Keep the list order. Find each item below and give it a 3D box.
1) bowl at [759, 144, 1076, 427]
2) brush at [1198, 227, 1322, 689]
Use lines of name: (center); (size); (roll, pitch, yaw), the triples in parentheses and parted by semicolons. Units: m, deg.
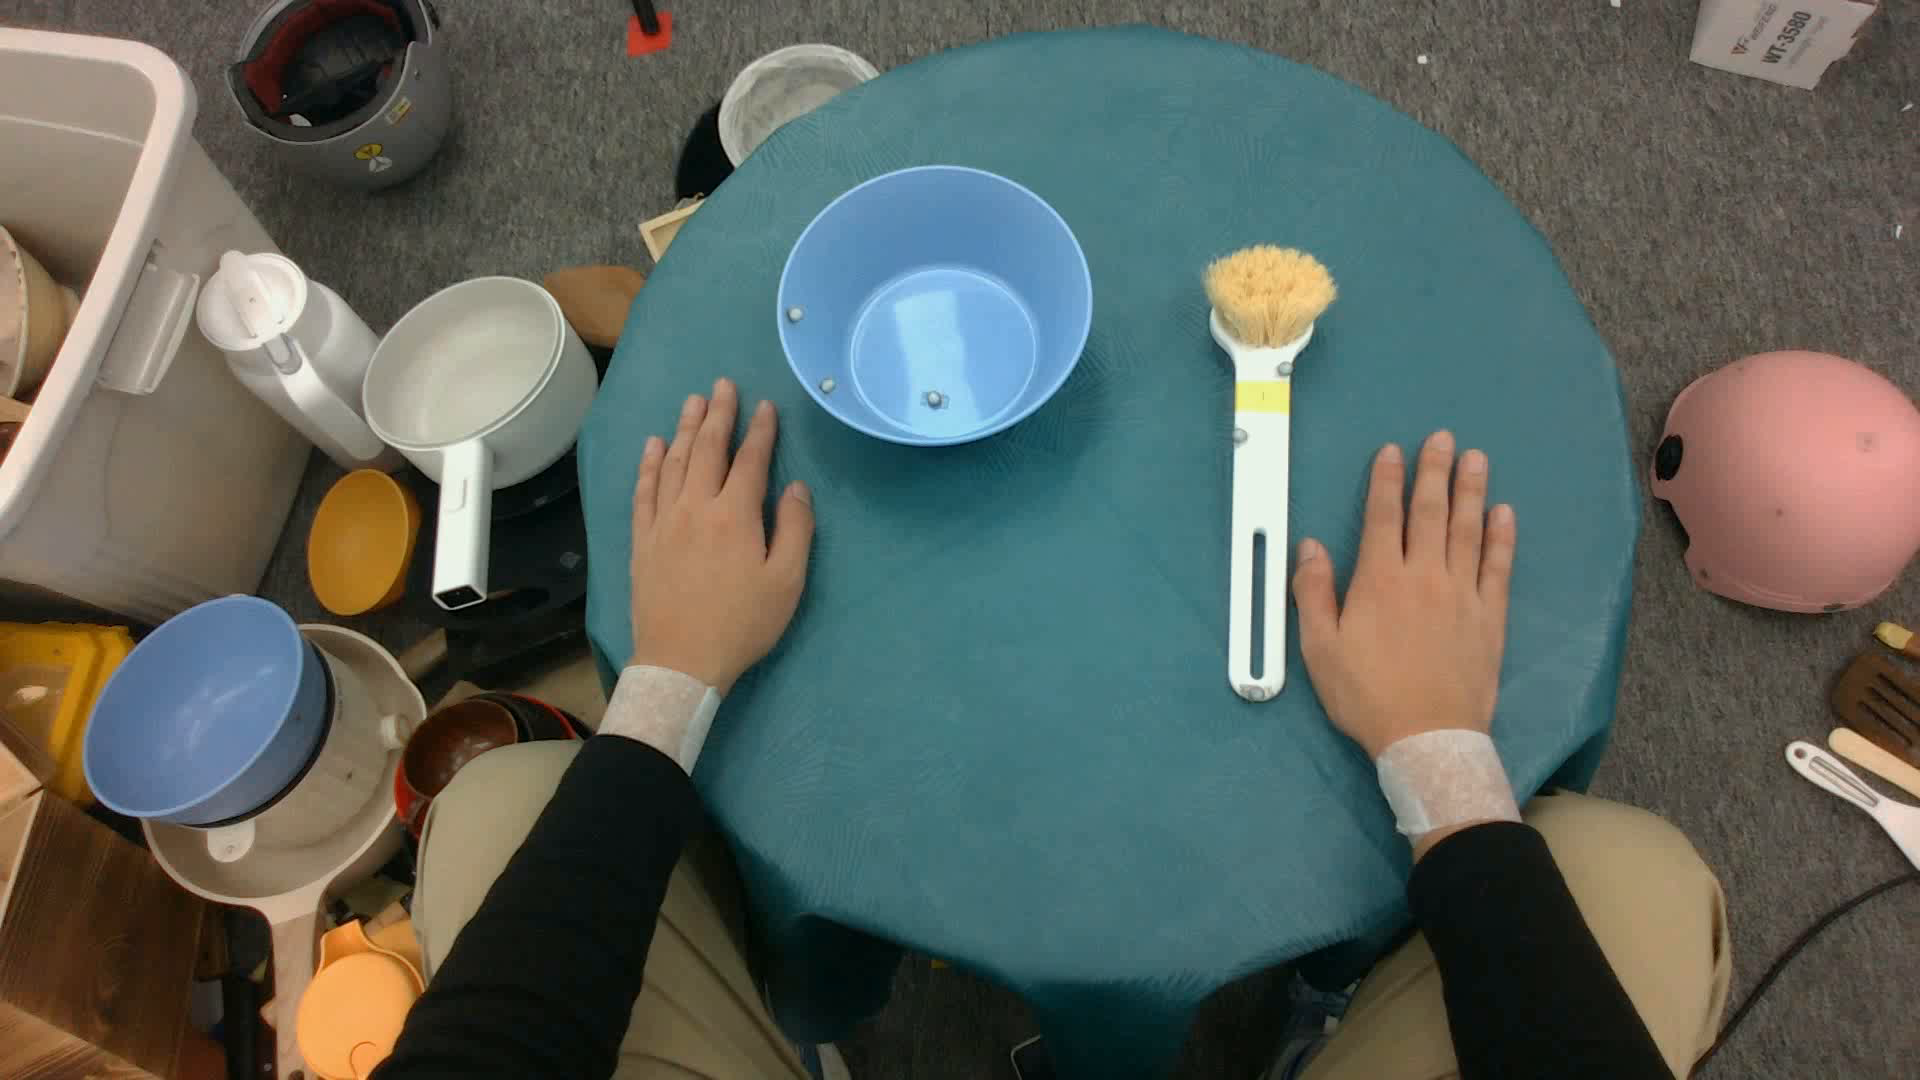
bowl: (-0.022, -0.133, 0.788); (0.176, 0.070, 0.176); (-1, 71, 3)
brush: (0.162, -0.054, 0.759); (0.068, 0.056, 0.267); (2, 71, 9)
